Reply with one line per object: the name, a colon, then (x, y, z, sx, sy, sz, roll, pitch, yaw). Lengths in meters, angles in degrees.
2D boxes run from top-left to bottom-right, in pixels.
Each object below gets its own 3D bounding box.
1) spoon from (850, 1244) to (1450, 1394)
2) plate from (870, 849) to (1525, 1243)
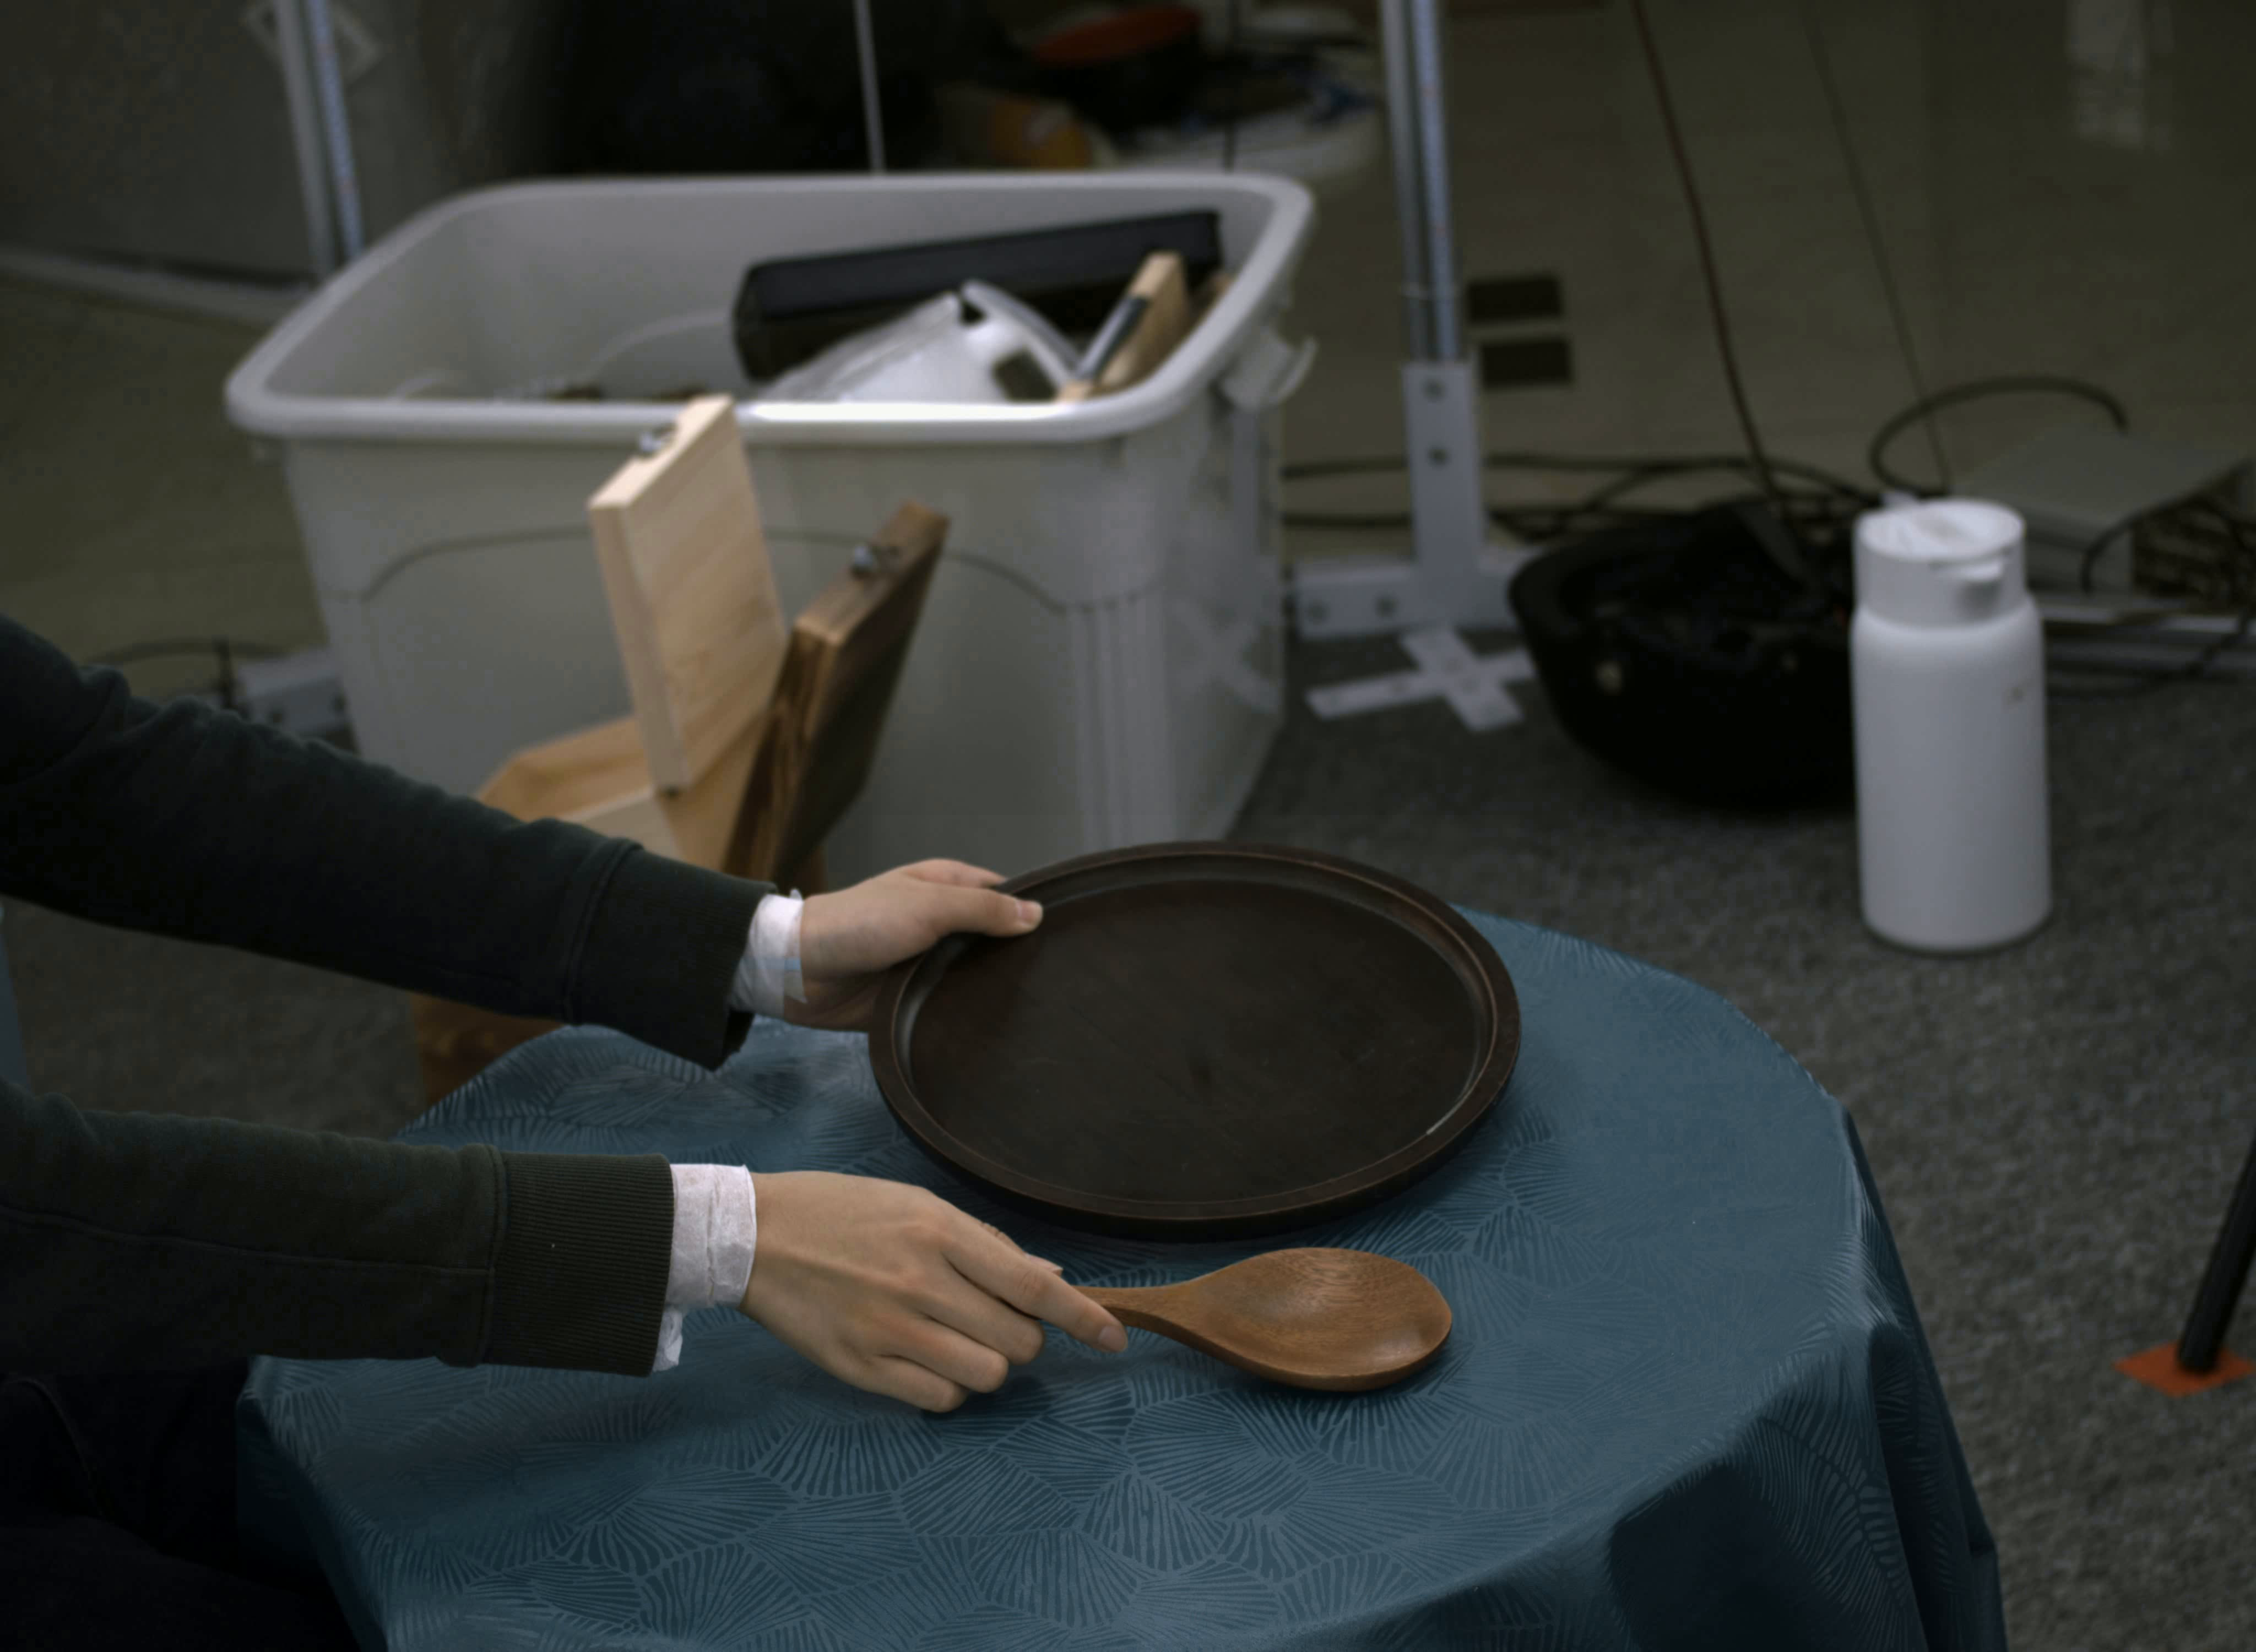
spoon: (0.007, 0.173, 2.029, 0.215, 0.017, 0.074, 5, 36, 4)
plate: (0.026, 0.083, 2.192, 0.254, 0.029, 0.250, 0, 34, 0)
